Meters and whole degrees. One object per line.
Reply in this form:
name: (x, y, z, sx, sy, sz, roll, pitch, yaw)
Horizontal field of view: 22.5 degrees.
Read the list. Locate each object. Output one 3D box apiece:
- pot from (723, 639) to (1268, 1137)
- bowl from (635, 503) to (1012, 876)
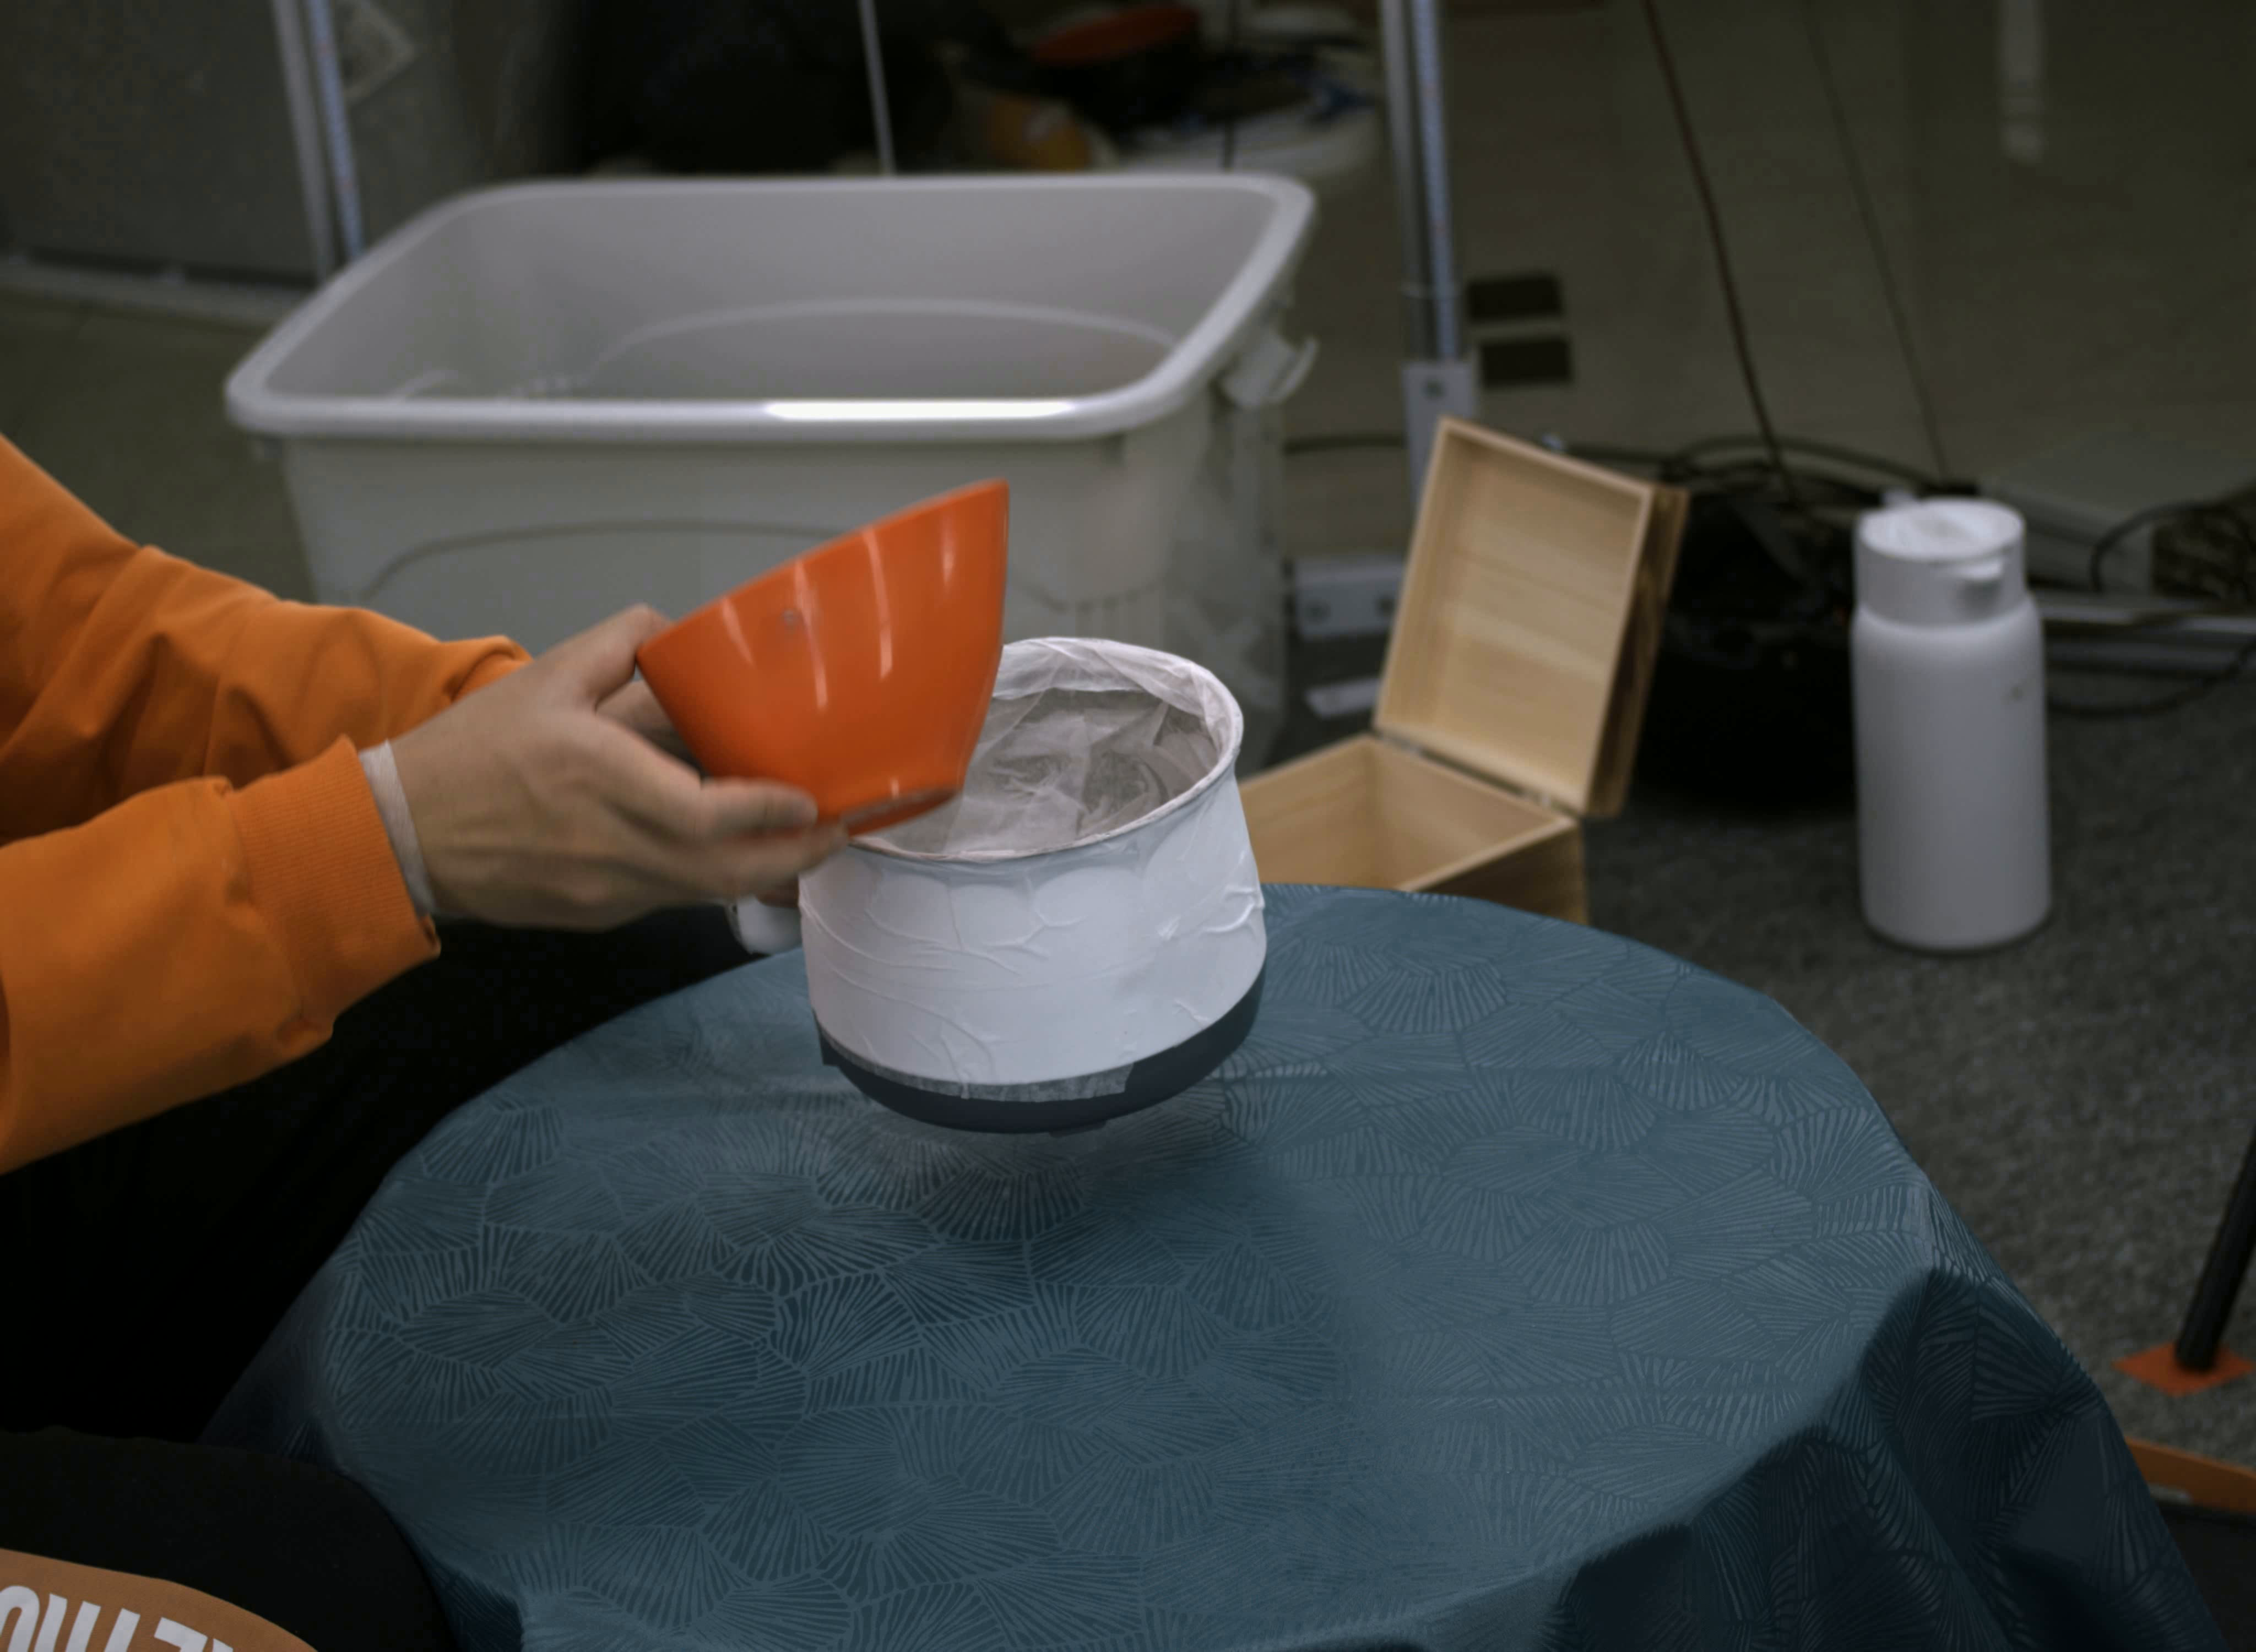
pot: (-0.061, 0.020, 2.171, 0.232, 0.139, 0.176, 12, 33, 31)
bowl: (-0.095, -0.044, 2.009, 0.148, 0.104, 0.148, -19, -5, -2)
